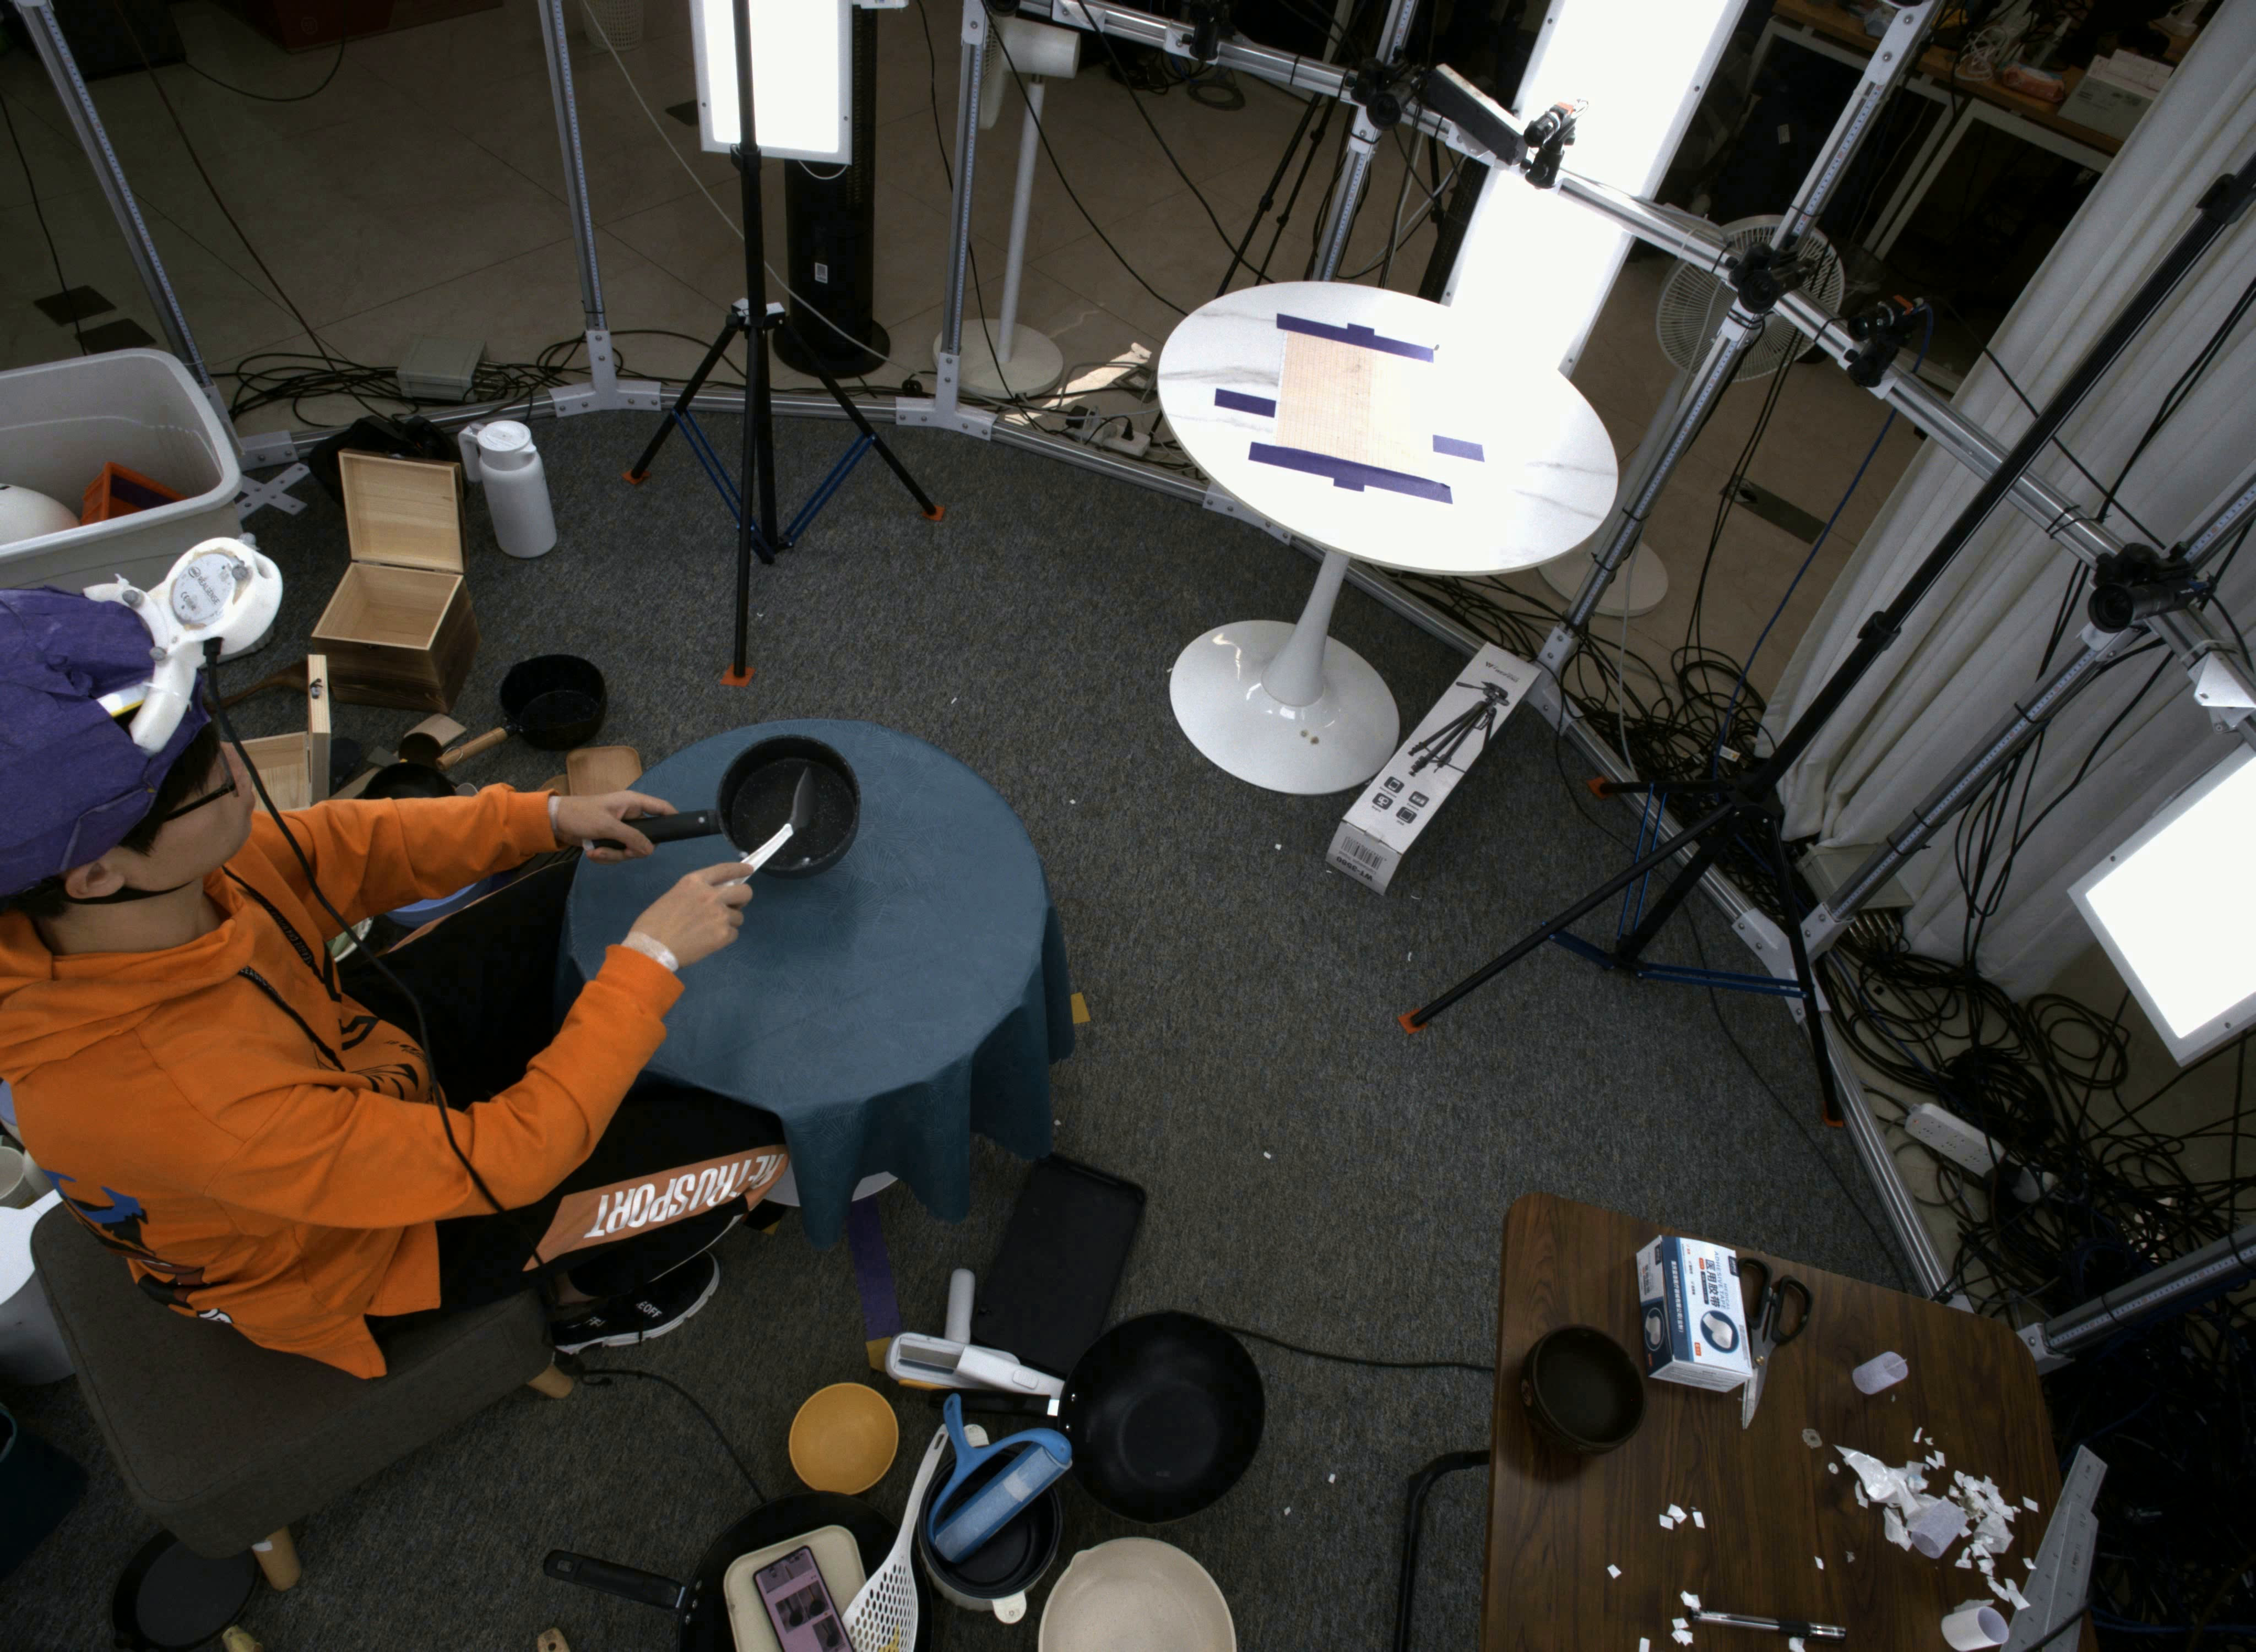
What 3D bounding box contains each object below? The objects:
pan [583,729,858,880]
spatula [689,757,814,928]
[{"bbox_3d":[-0.490,-0.010,1.559,0.329,0.086,0.171,-9,77,-15],"label":"pan"},{"bbox_3d":[-0.420,0.015,1.488,0.031,0.061,0.284,-3,33,19],"label":"spatula"}]
